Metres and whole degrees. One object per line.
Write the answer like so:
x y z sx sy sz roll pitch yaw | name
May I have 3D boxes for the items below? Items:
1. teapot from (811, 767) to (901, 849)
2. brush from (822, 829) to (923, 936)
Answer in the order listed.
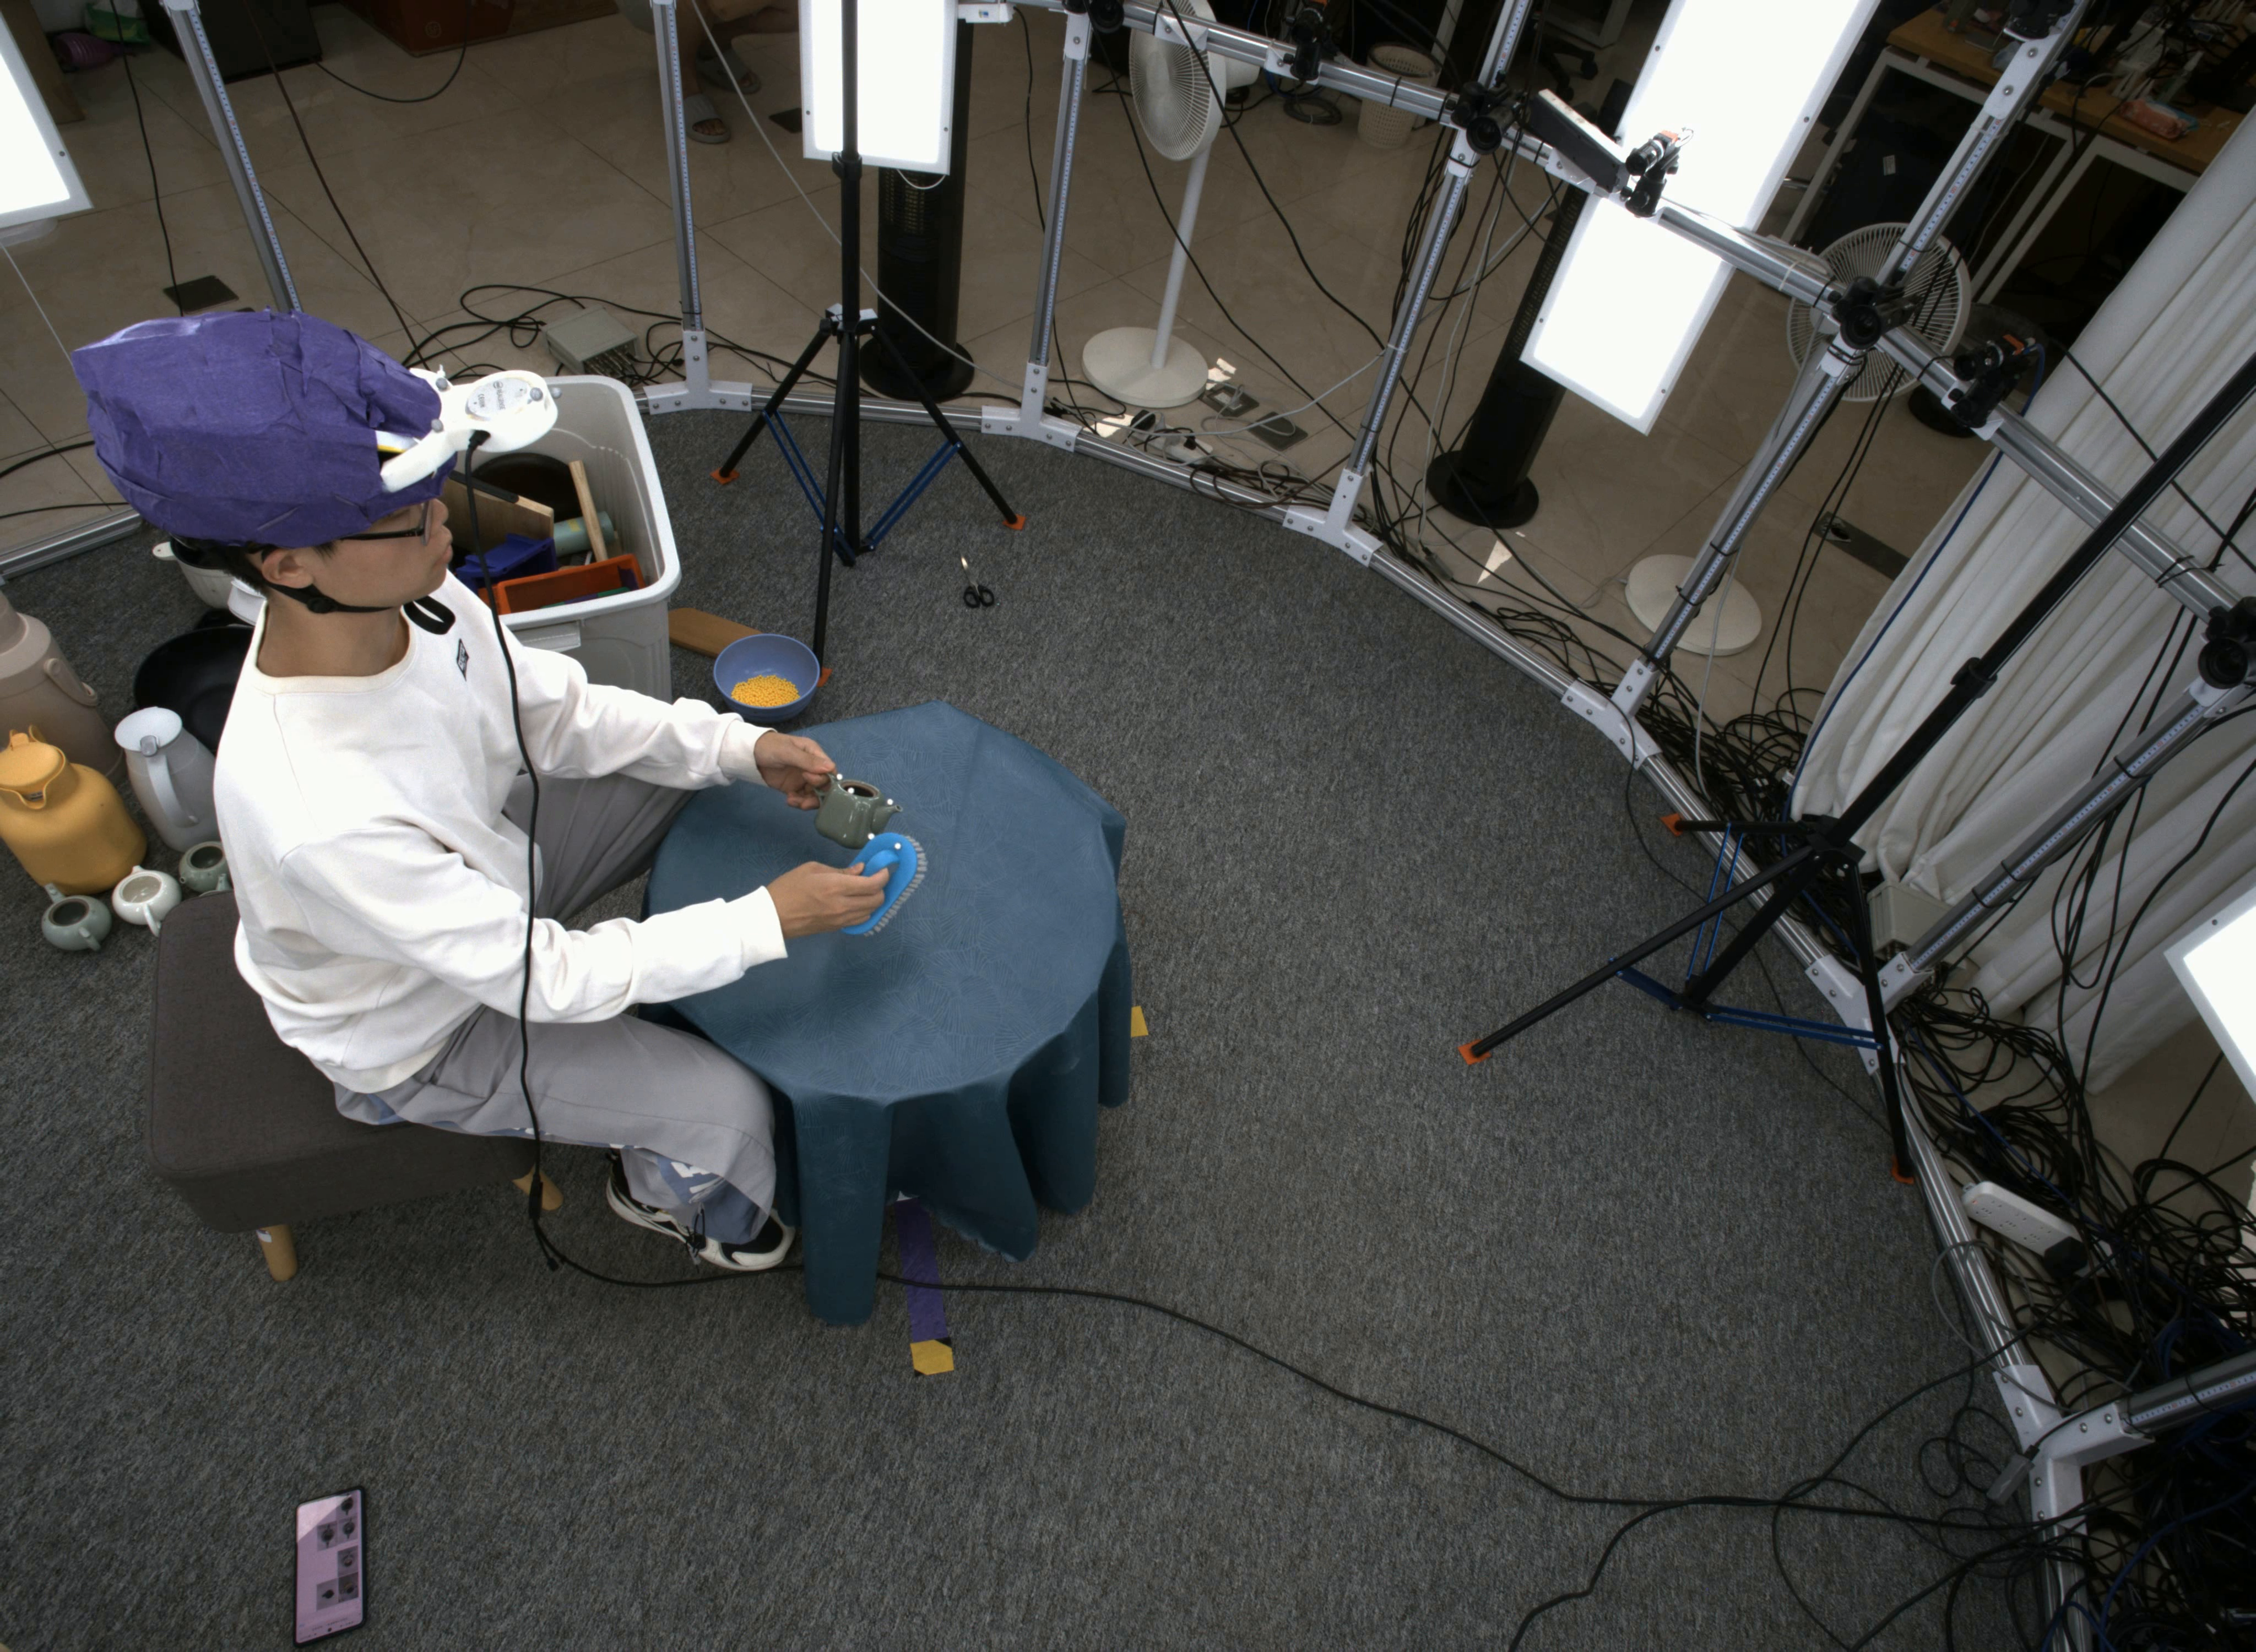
-0.350 -0.019 1.640 0.129 0.076 0.080 25 20 13 | teapot
-0.311 0.069 1.561 0.083 0.064 0.142 41 95 8 | brush
